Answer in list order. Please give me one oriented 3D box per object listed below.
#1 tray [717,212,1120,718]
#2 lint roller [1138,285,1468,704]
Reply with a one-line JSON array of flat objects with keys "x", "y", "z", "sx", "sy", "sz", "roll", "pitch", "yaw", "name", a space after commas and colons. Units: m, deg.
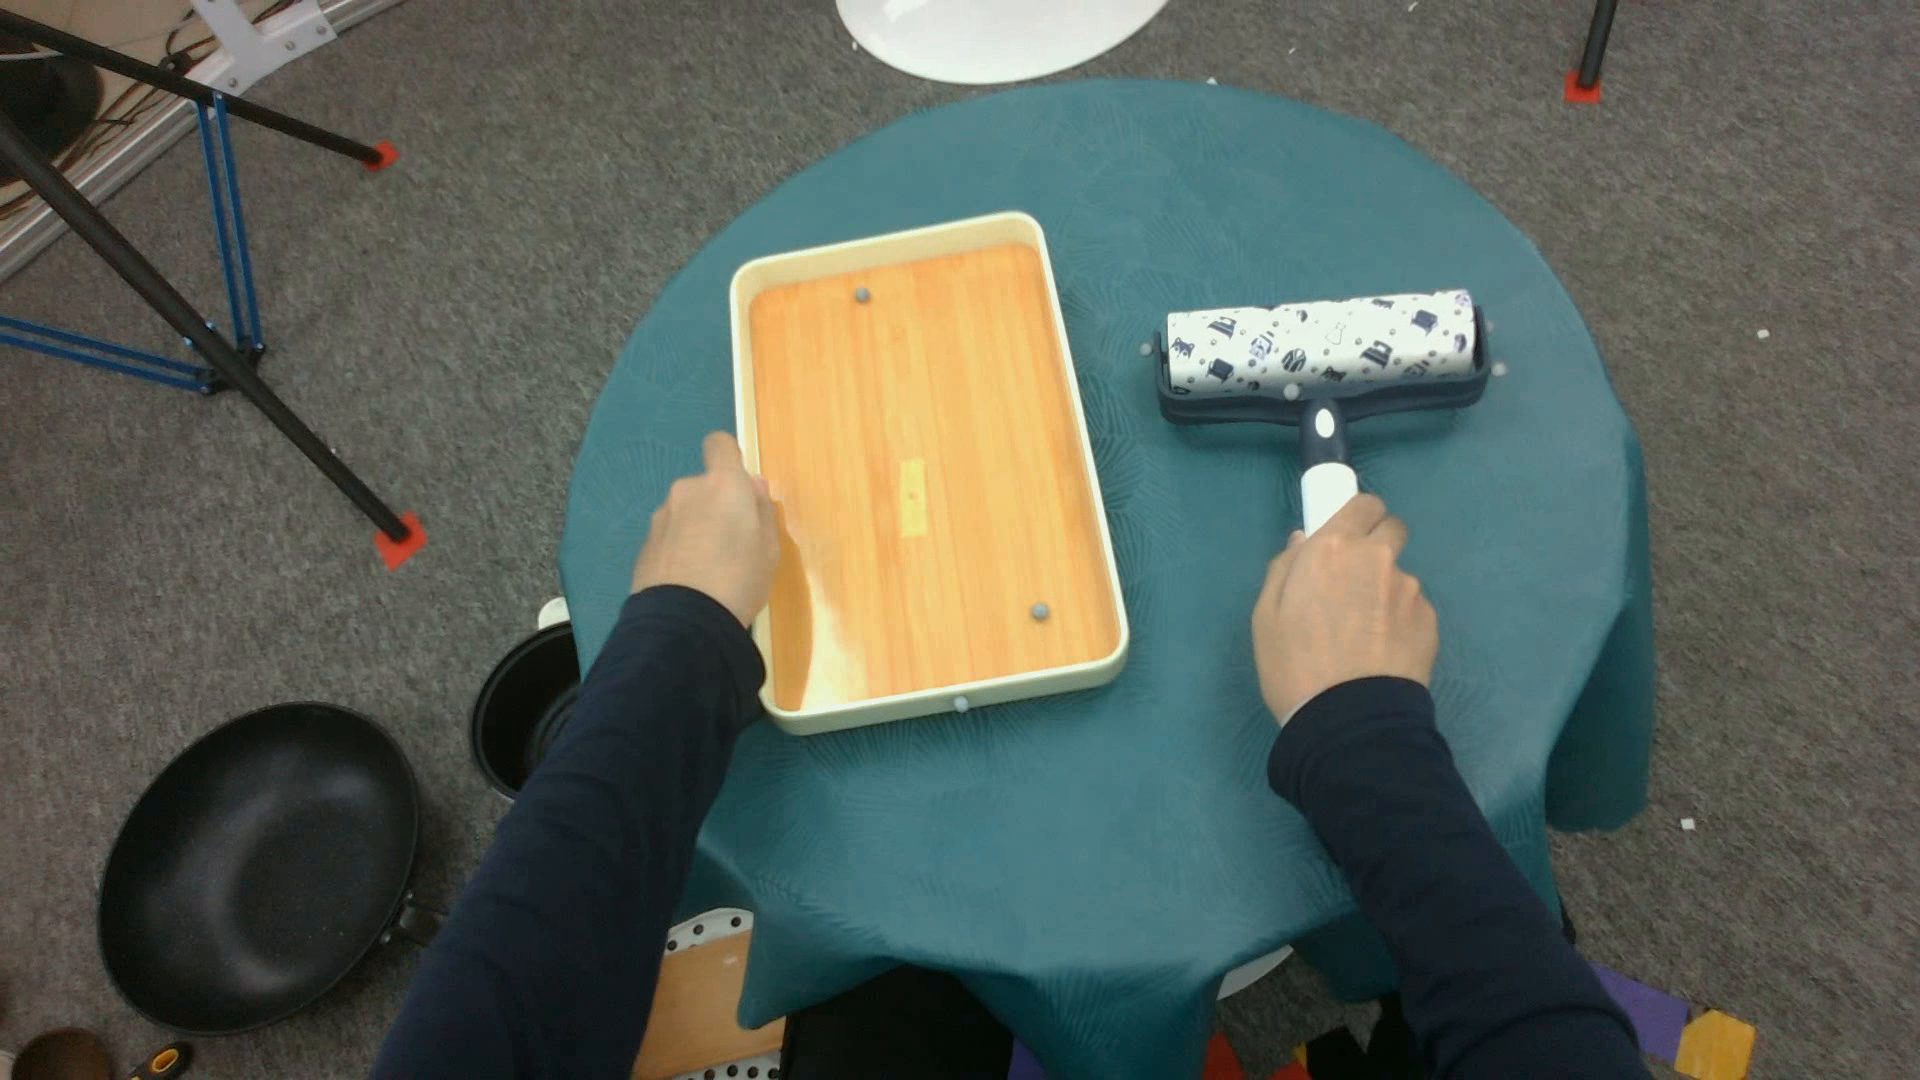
[{"x": -0.032, "y": -0.054, "z": 0.761, "sx": 0.191, "sy": 0.027, "sz": 0.301, "roll": -8, "pitch": 59, "yaw": -2, "name": "tray"}, {"x": 0.184, "y": -0.033, "z": 0.709, "sx": 0.176, "sy": 0.050, "sz": 0.248, "roll": -3, "pitch": 54, "yaw": 8, "name": "lint roller"}]
